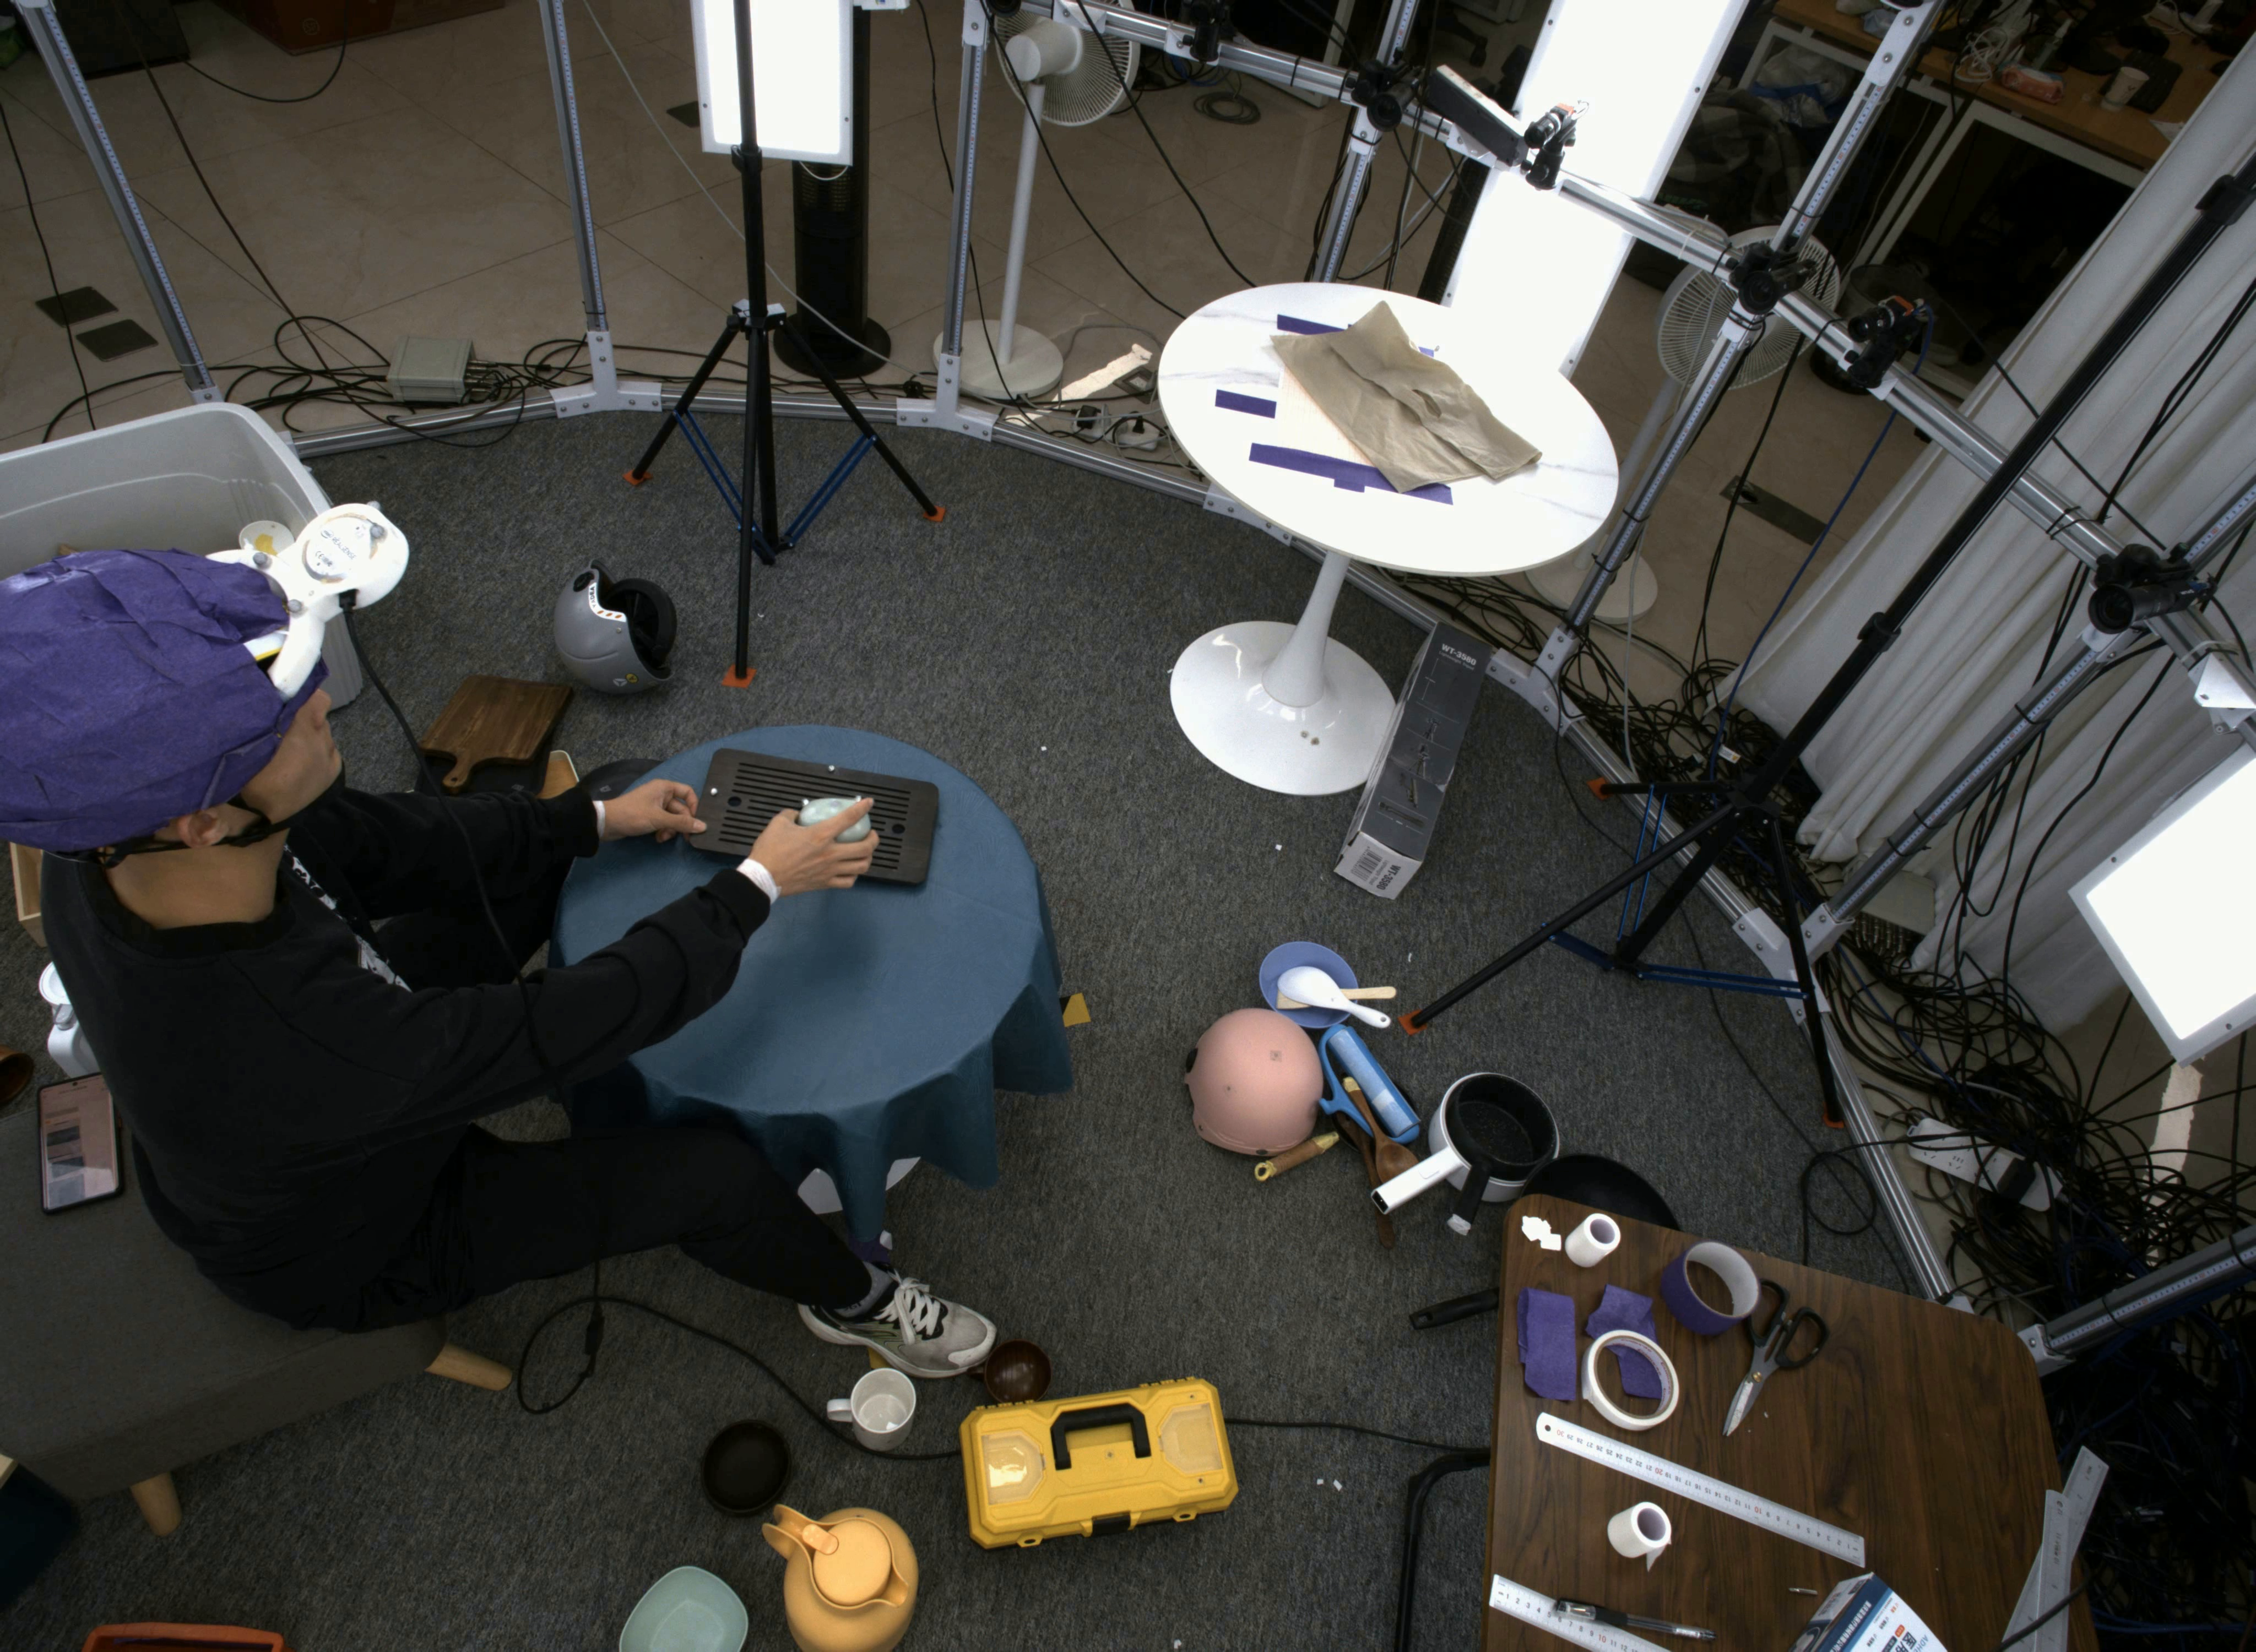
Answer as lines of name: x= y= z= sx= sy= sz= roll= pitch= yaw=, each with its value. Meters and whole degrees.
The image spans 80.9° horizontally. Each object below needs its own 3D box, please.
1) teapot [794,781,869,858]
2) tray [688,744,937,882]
teapot: x=-0.357 y=-0.003 z=1.561 sx=0.088 sy=0.143 sz=0.075 roll=0 pitch=77 yaw=-14
tray: x=-0.412 y=-0.016 z=1.714 sx=0.306 sy=0.019 sz=0.167 roll=10 pitch=53 yaw=-12
